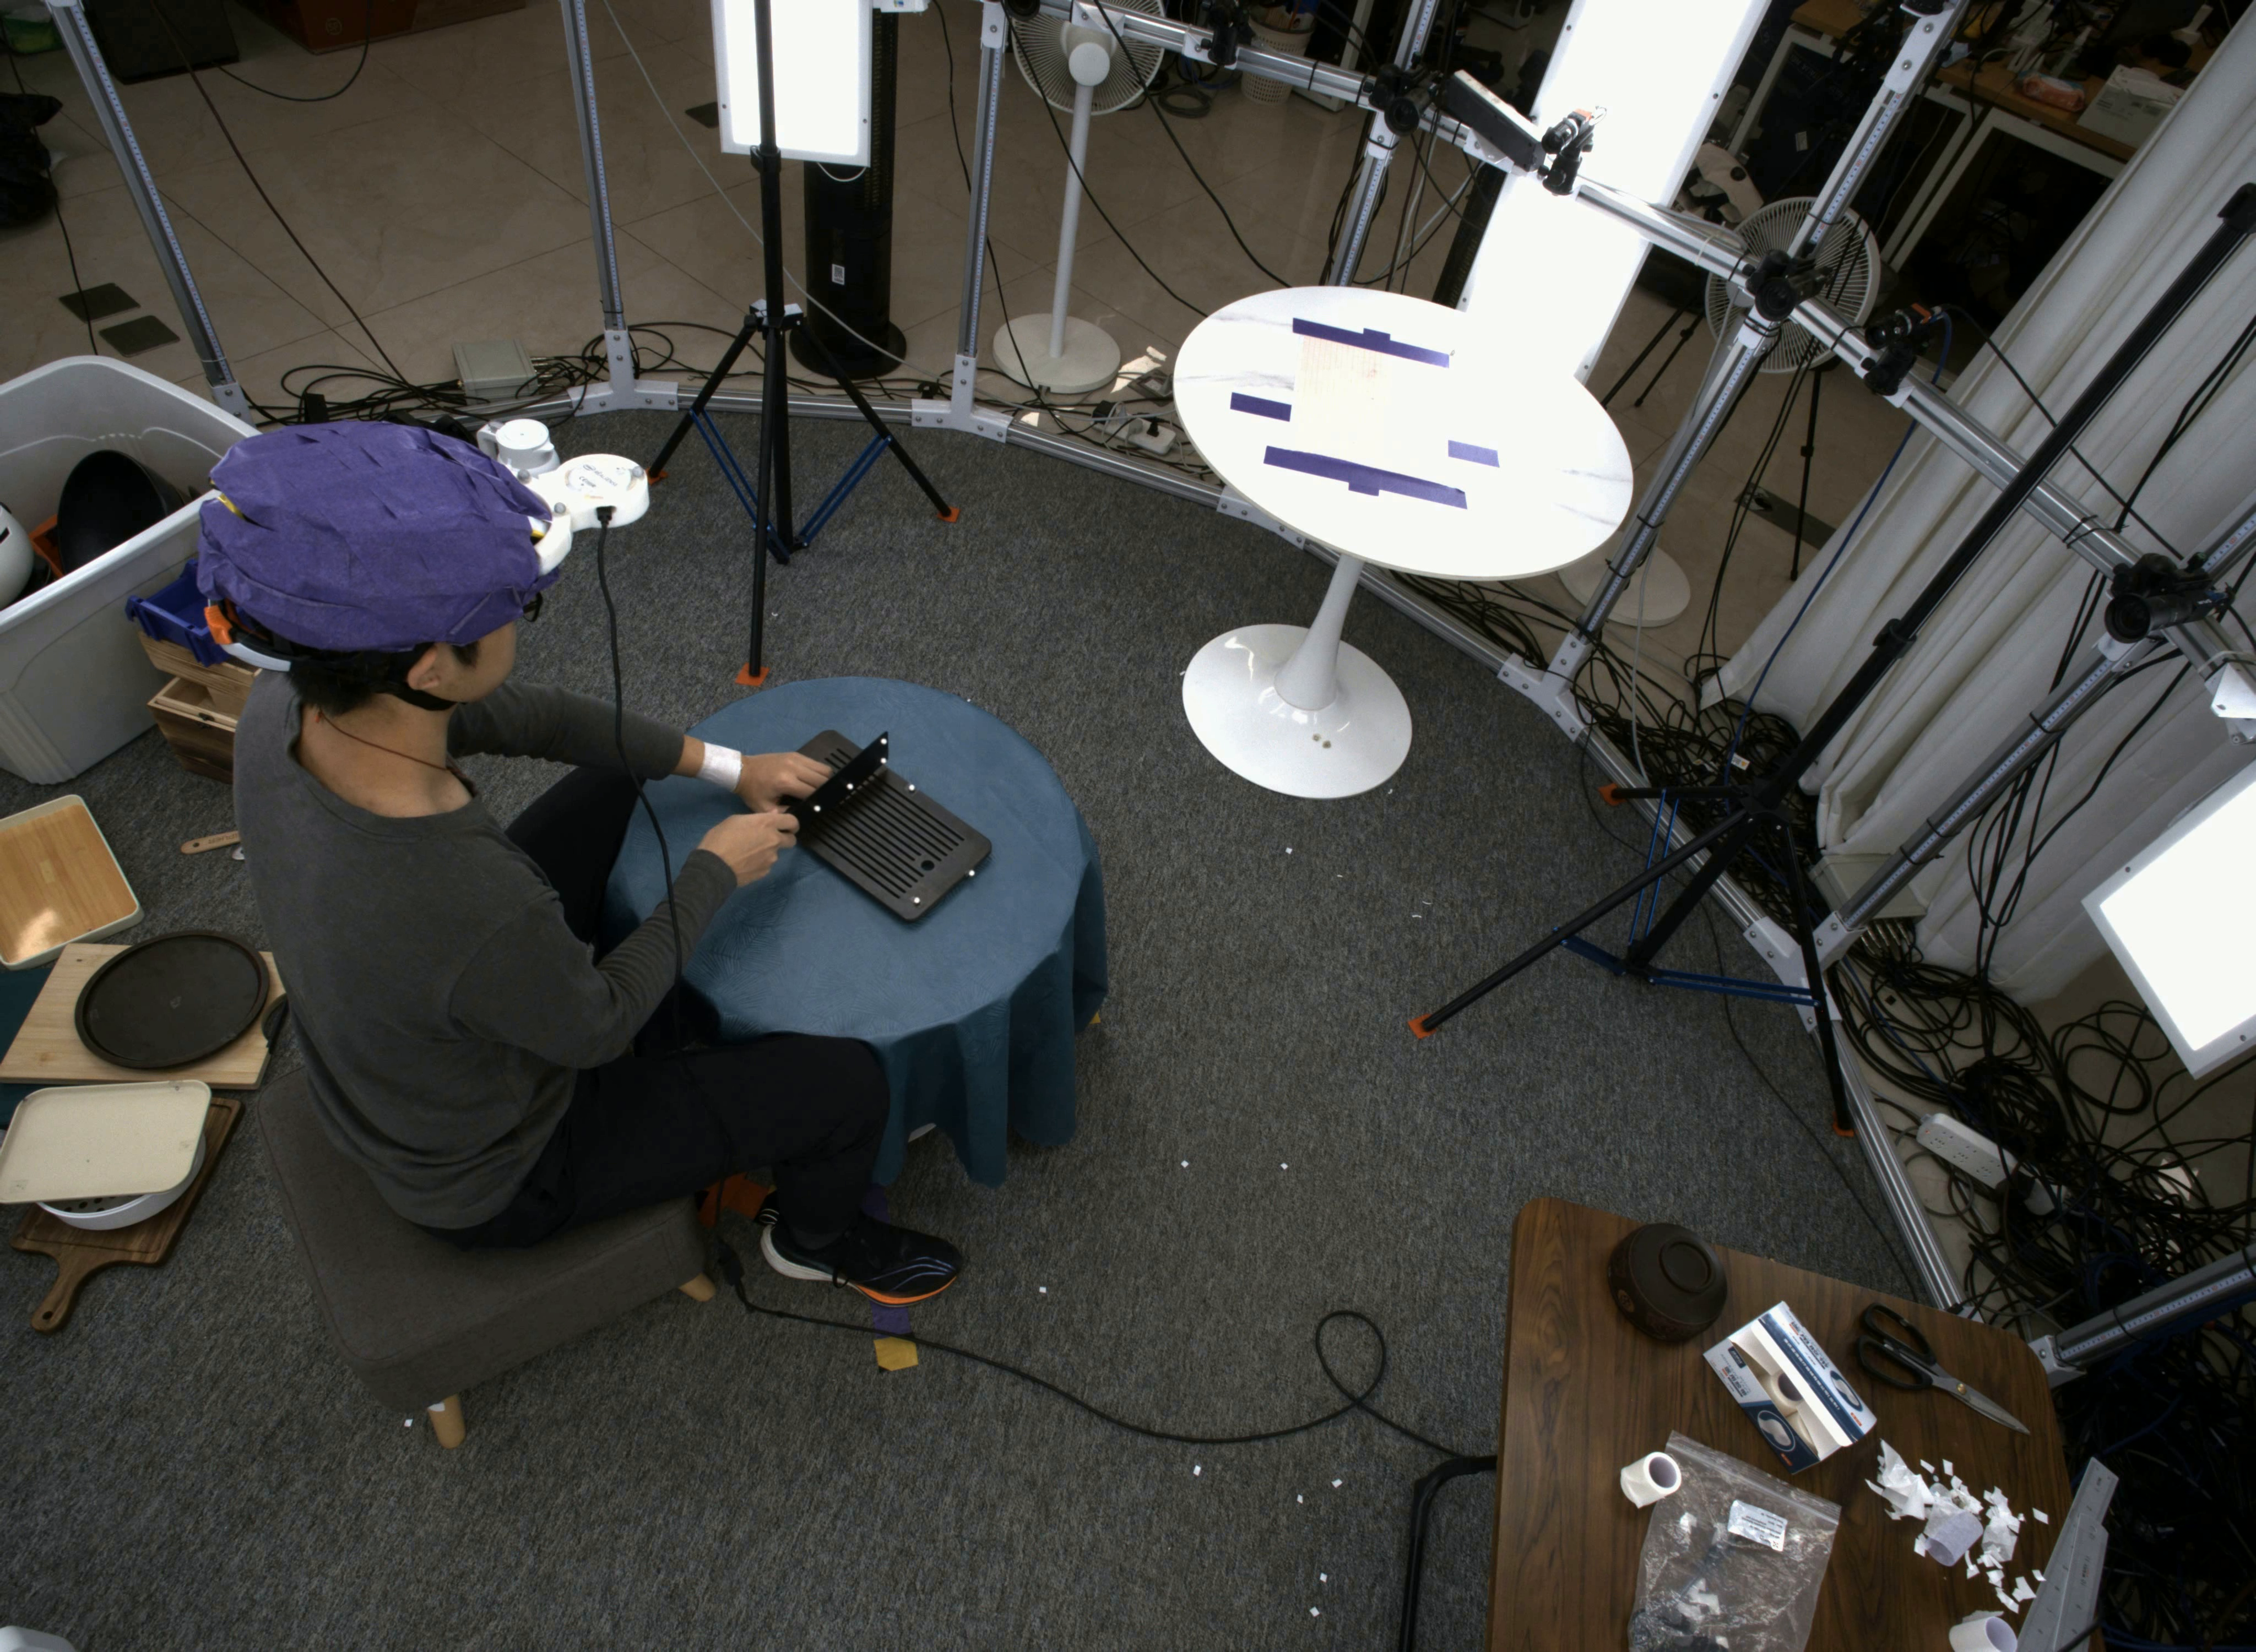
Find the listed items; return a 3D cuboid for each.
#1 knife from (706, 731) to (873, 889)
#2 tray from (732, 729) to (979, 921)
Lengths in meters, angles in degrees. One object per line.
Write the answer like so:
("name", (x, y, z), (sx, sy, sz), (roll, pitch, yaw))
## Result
("knife", (-0.431, -0.020, 1.677), (0.020, 0.083, 0.302), (31, 51, 17))
("tray", (-0.365, -0.005, 1.742), (0.300, 0.019, 0.170), (34, 54, 12))
